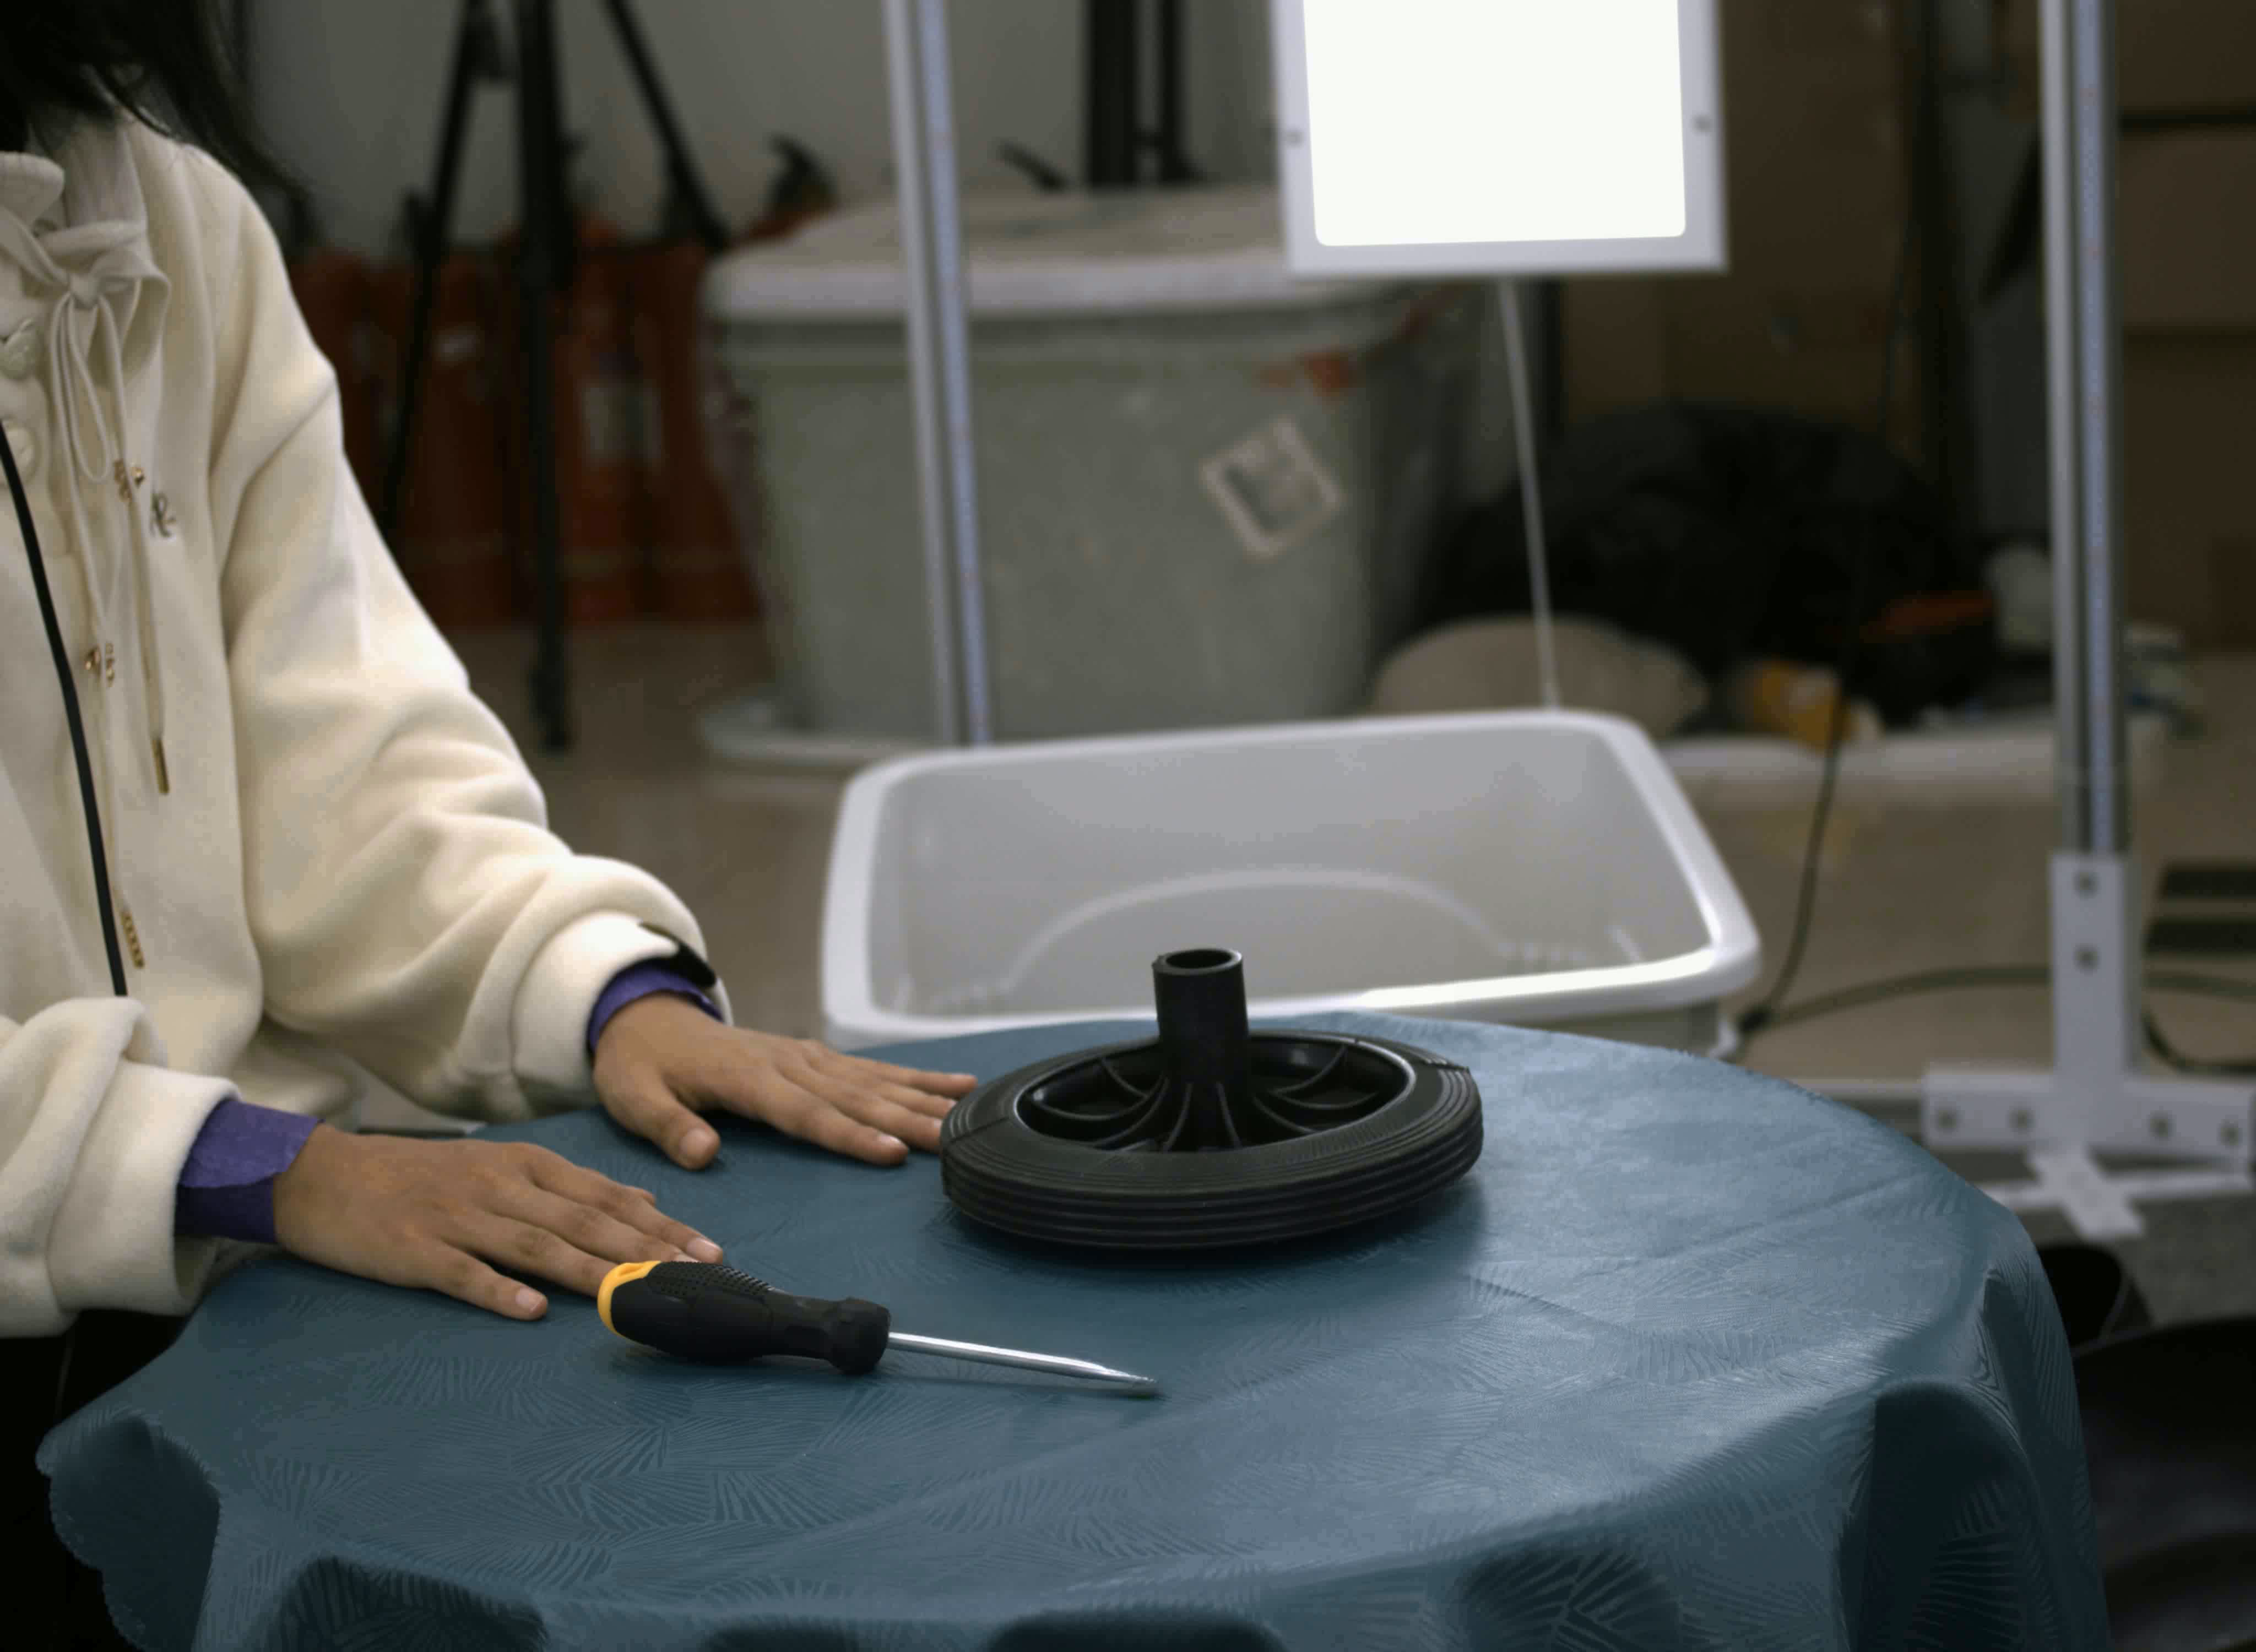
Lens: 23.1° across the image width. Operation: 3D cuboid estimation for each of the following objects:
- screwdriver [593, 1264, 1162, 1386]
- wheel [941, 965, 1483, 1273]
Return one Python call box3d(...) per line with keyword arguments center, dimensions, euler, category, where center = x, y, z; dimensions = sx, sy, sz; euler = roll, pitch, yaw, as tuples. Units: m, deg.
box3d(center=(-0.081, 0.162, 1.734), dimensions=(0.201, 0.031, 0.031), euler=(6, 17, 28), category="screwdriver")
box3d(center=(0.027, 0.090, 1.883), dimensions=(0.190, 0.079, 0.186), euler=(2, 18, 24), category="wheel")
